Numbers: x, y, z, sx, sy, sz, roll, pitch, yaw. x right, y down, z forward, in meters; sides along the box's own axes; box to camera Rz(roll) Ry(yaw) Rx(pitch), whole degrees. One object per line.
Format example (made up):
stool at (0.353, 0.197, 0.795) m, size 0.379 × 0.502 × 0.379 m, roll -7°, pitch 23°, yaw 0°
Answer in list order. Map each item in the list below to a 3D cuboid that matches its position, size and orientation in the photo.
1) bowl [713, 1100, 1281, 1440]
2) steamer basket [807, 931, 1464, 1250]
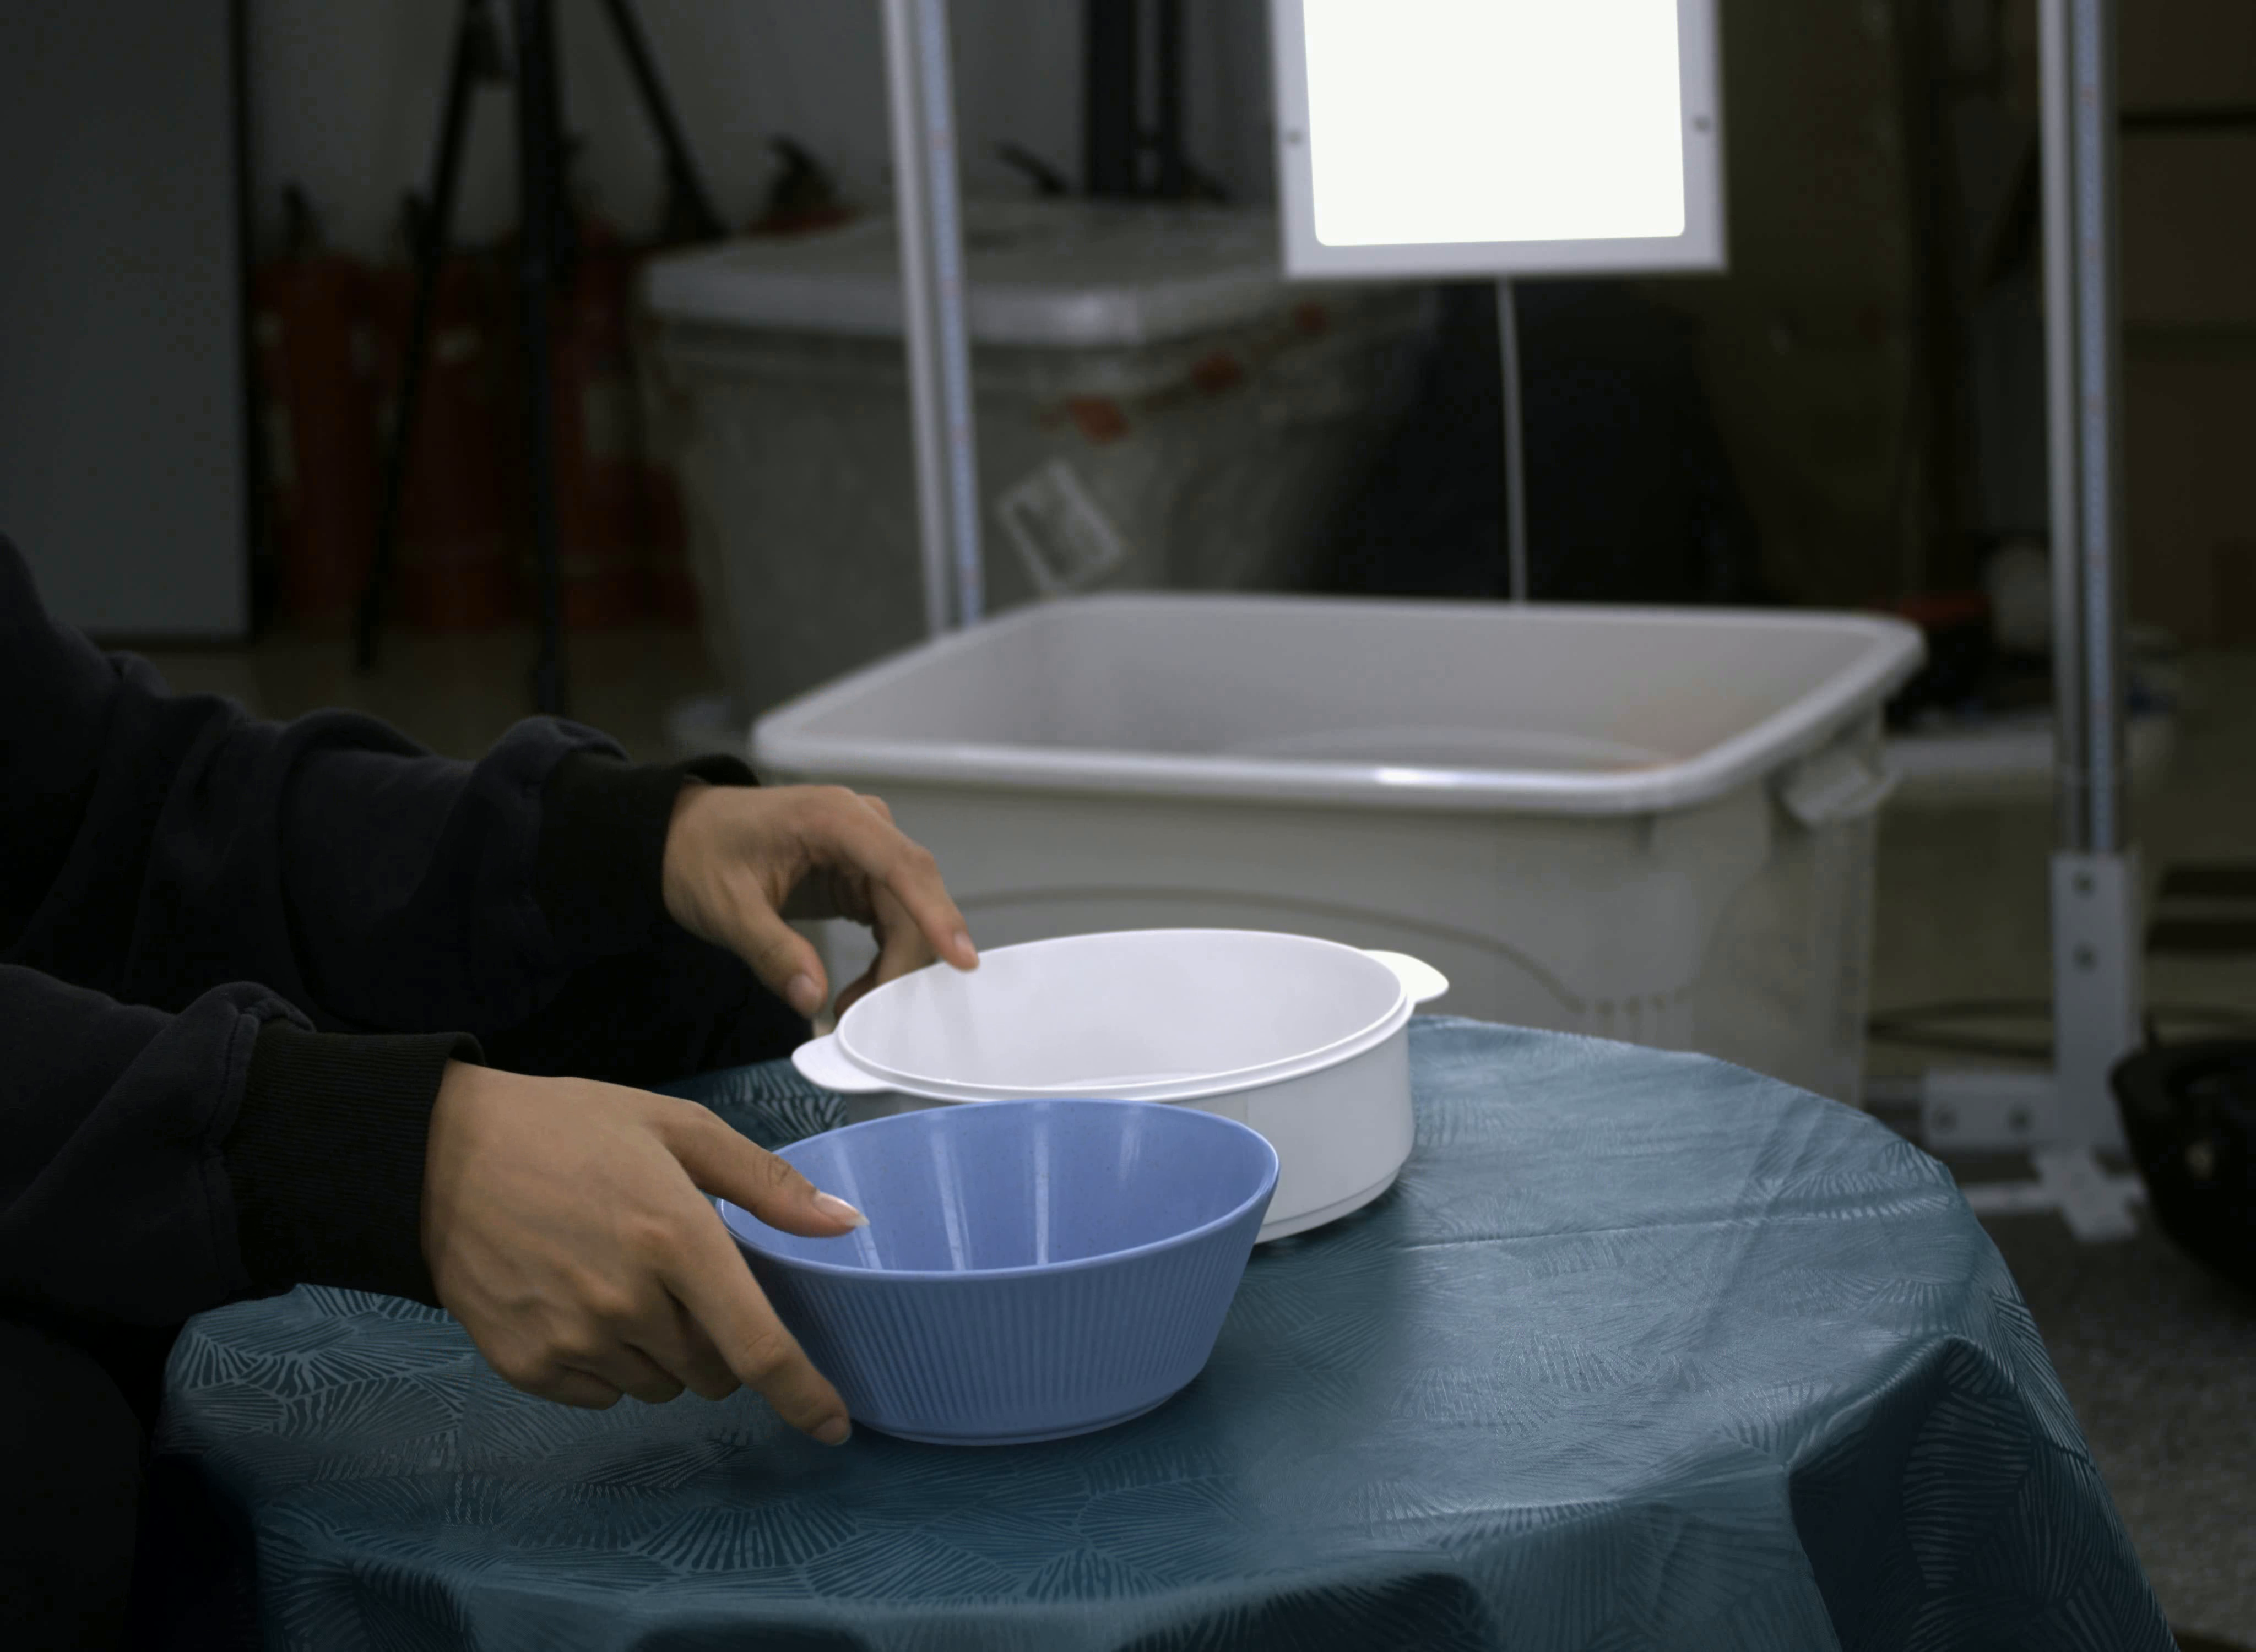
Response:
bowl at (-0.039, 0.140, 1.706) m, size 0.175 × 0.070 × 0.176 m, roll -4°, pitch 14°, yaw 0°
steamer basket at (0.005, 0.092, 1.893) m, size 0.227 × 0.069 × 0.204 m, roll -7°, pitch 14°, yaw -16°
